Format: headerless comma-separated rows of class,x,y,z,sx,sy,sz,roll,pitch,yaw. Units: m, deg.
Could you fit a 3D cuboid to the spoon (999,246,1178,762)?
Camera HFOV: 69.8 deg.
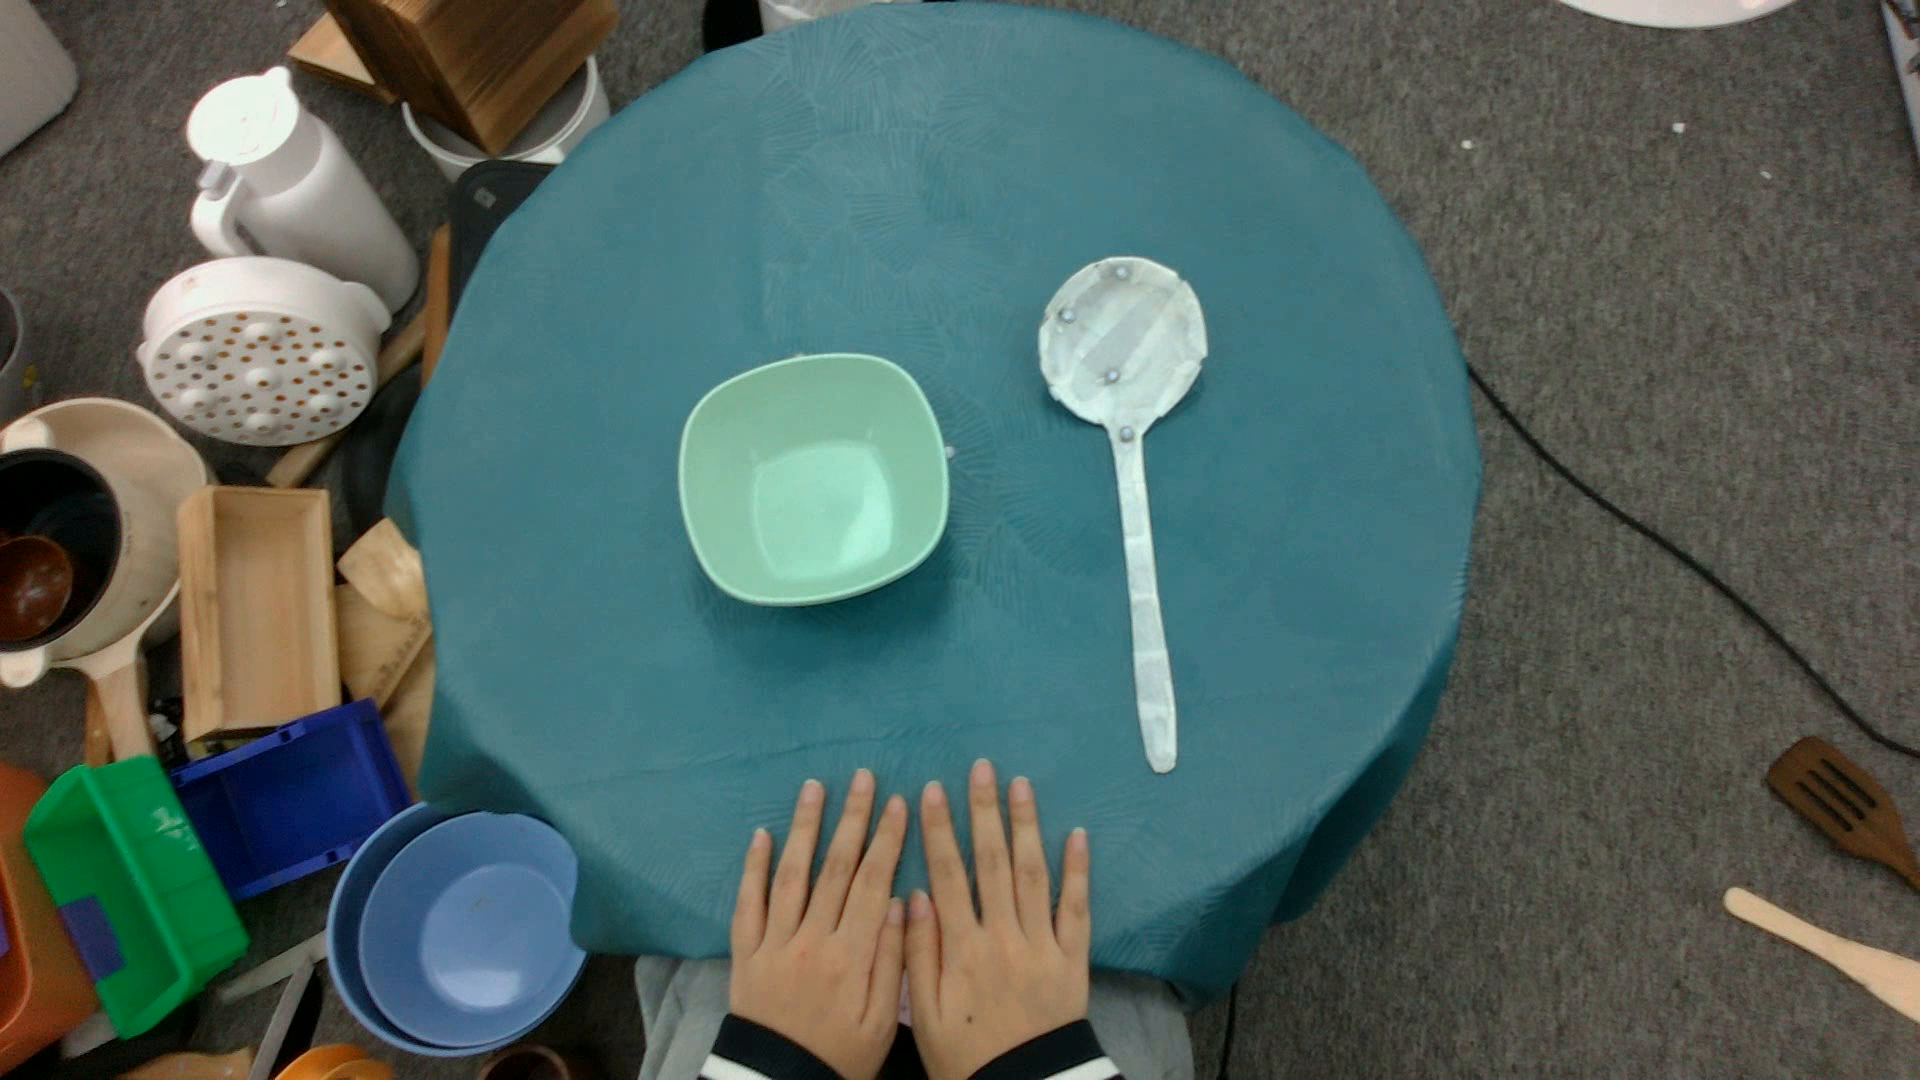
spoon,0.075,-0.024,0.735,0.100,0.059,0.278,-3,68,3

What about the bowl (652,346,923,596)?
bowl,-0.090,-0.029,0.739,0.151,0.058,0.152,0,68,0
